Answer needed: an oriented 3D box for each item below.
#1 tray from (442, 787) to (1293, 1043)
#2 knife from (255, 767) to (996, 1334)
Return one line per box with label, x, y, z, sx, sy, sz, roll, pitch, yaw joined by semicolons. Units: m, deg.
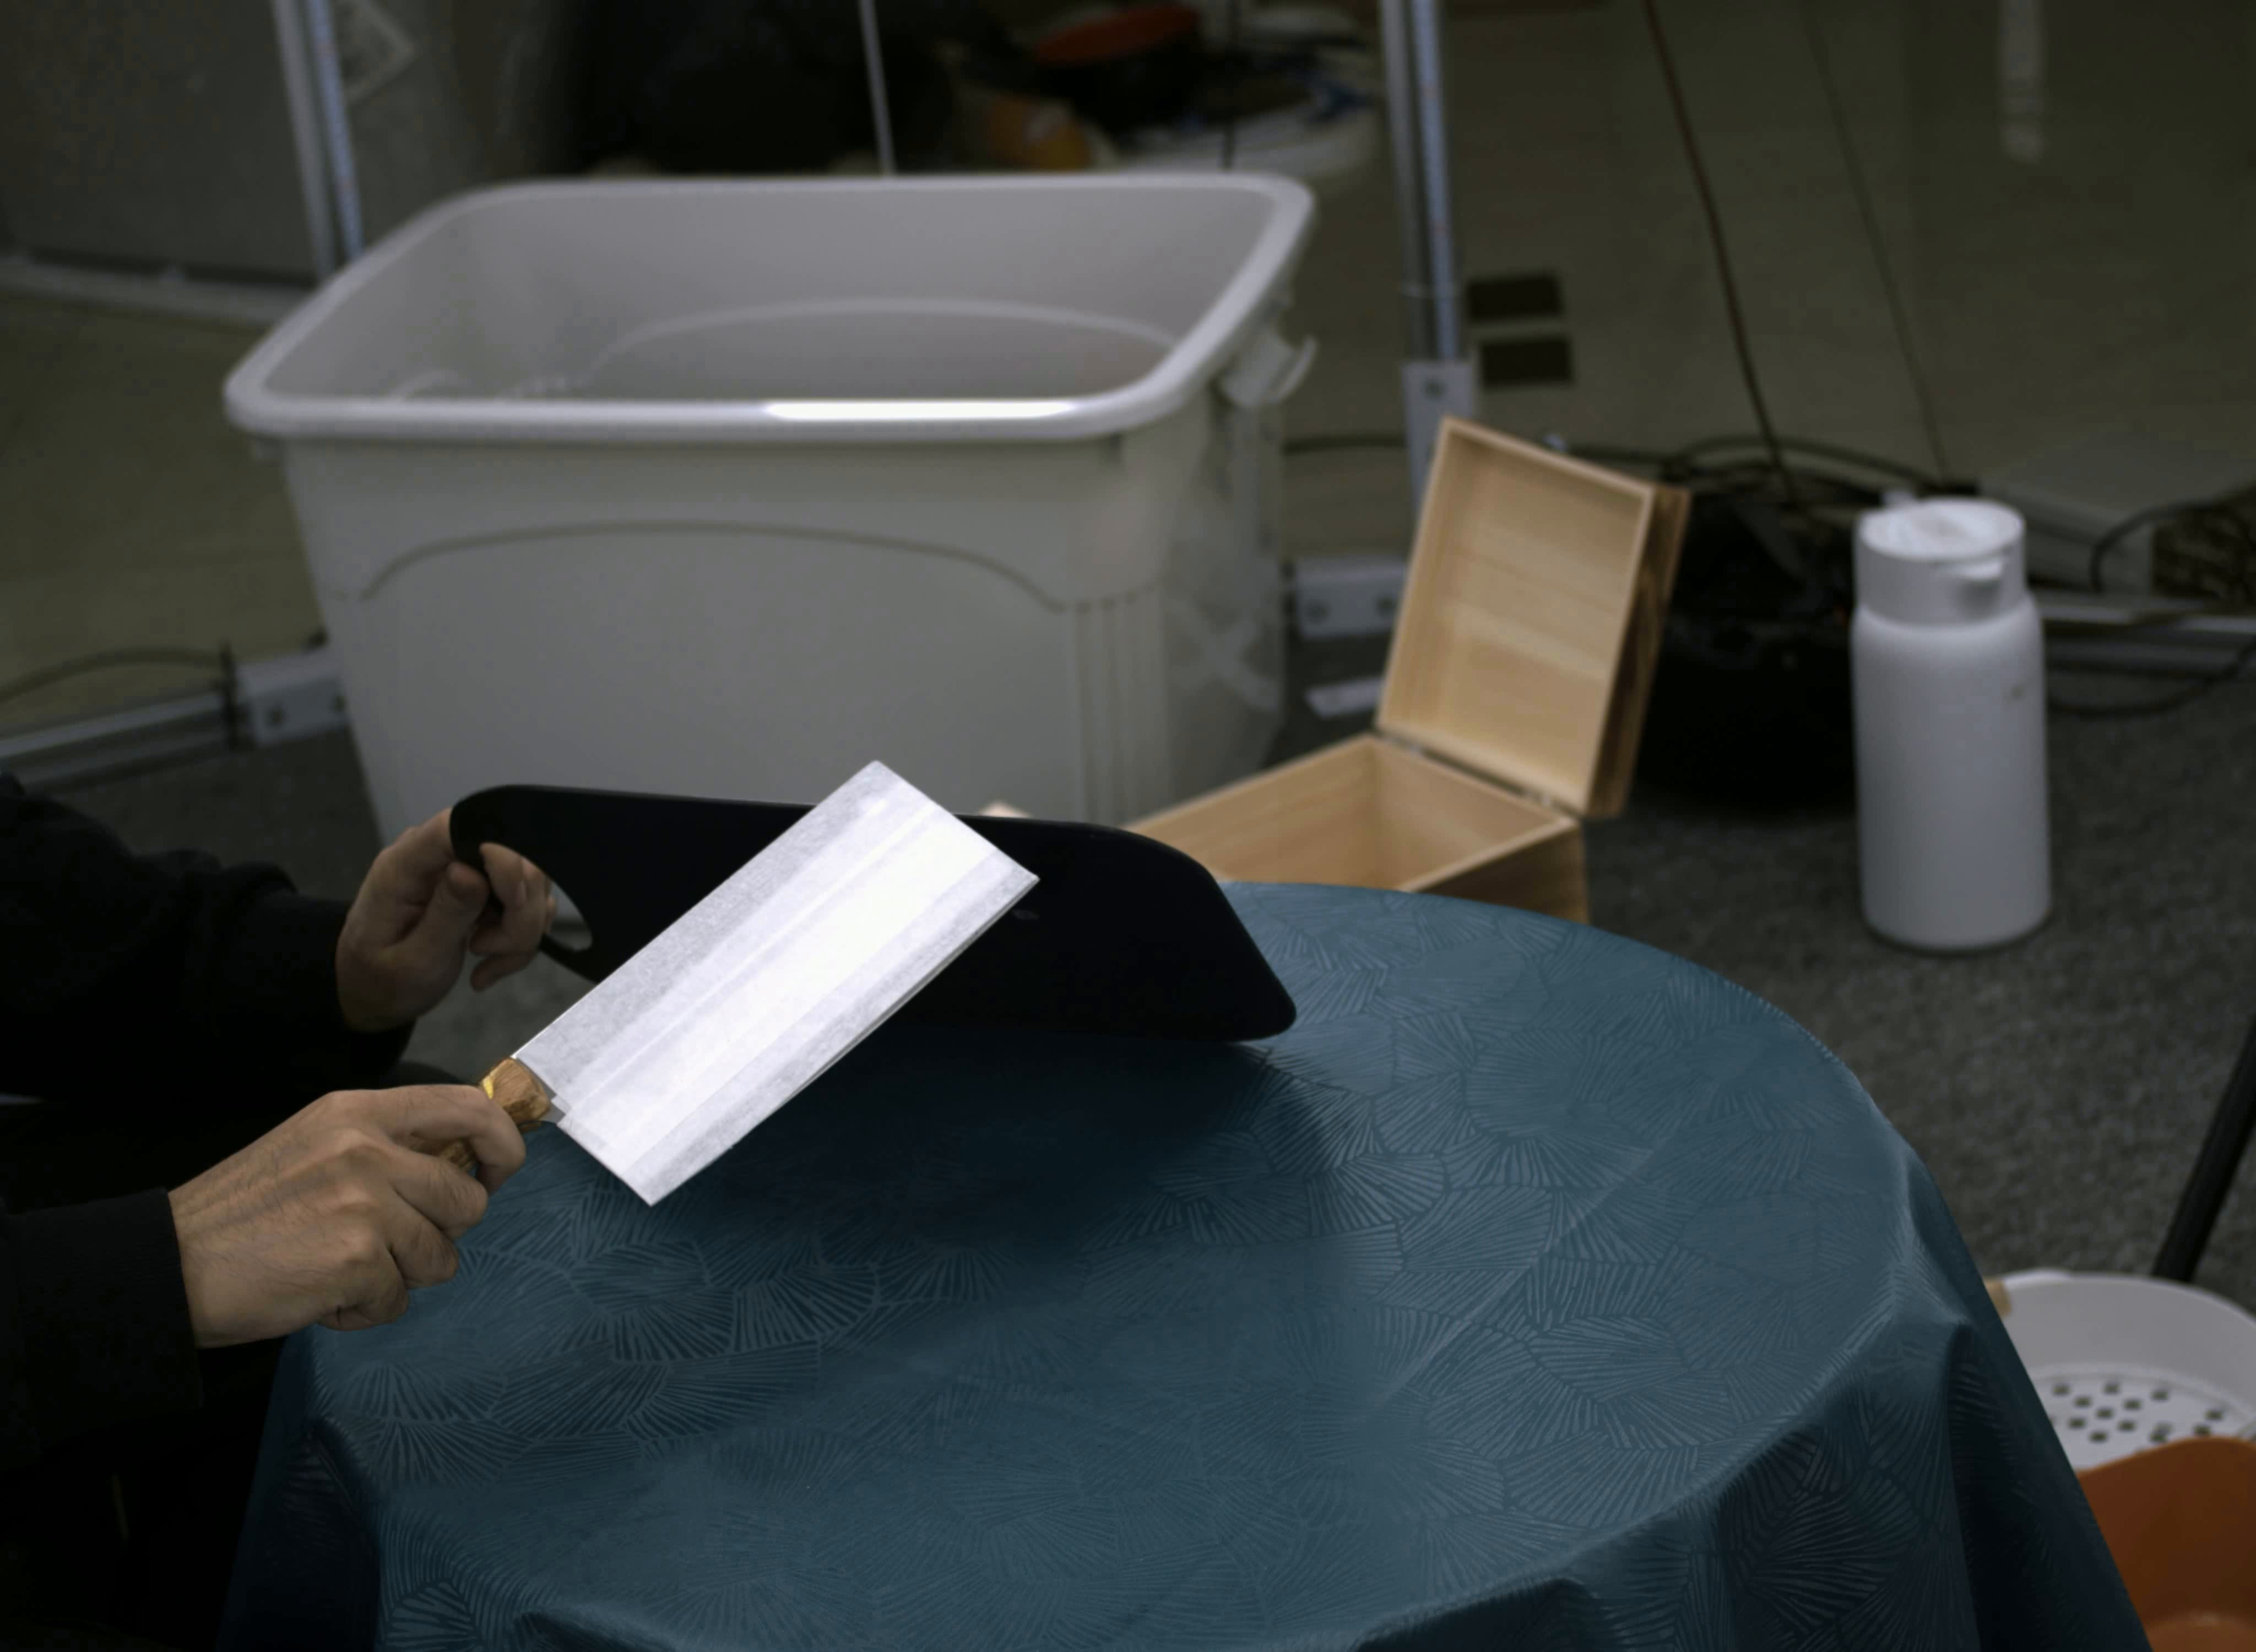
tray;-0.106;0.033;2.197;0.324;0.214;0.009;3;67;19
knife;-0.171;0.088;2.013;0.303;0.021;0.092;-40;57;-20
